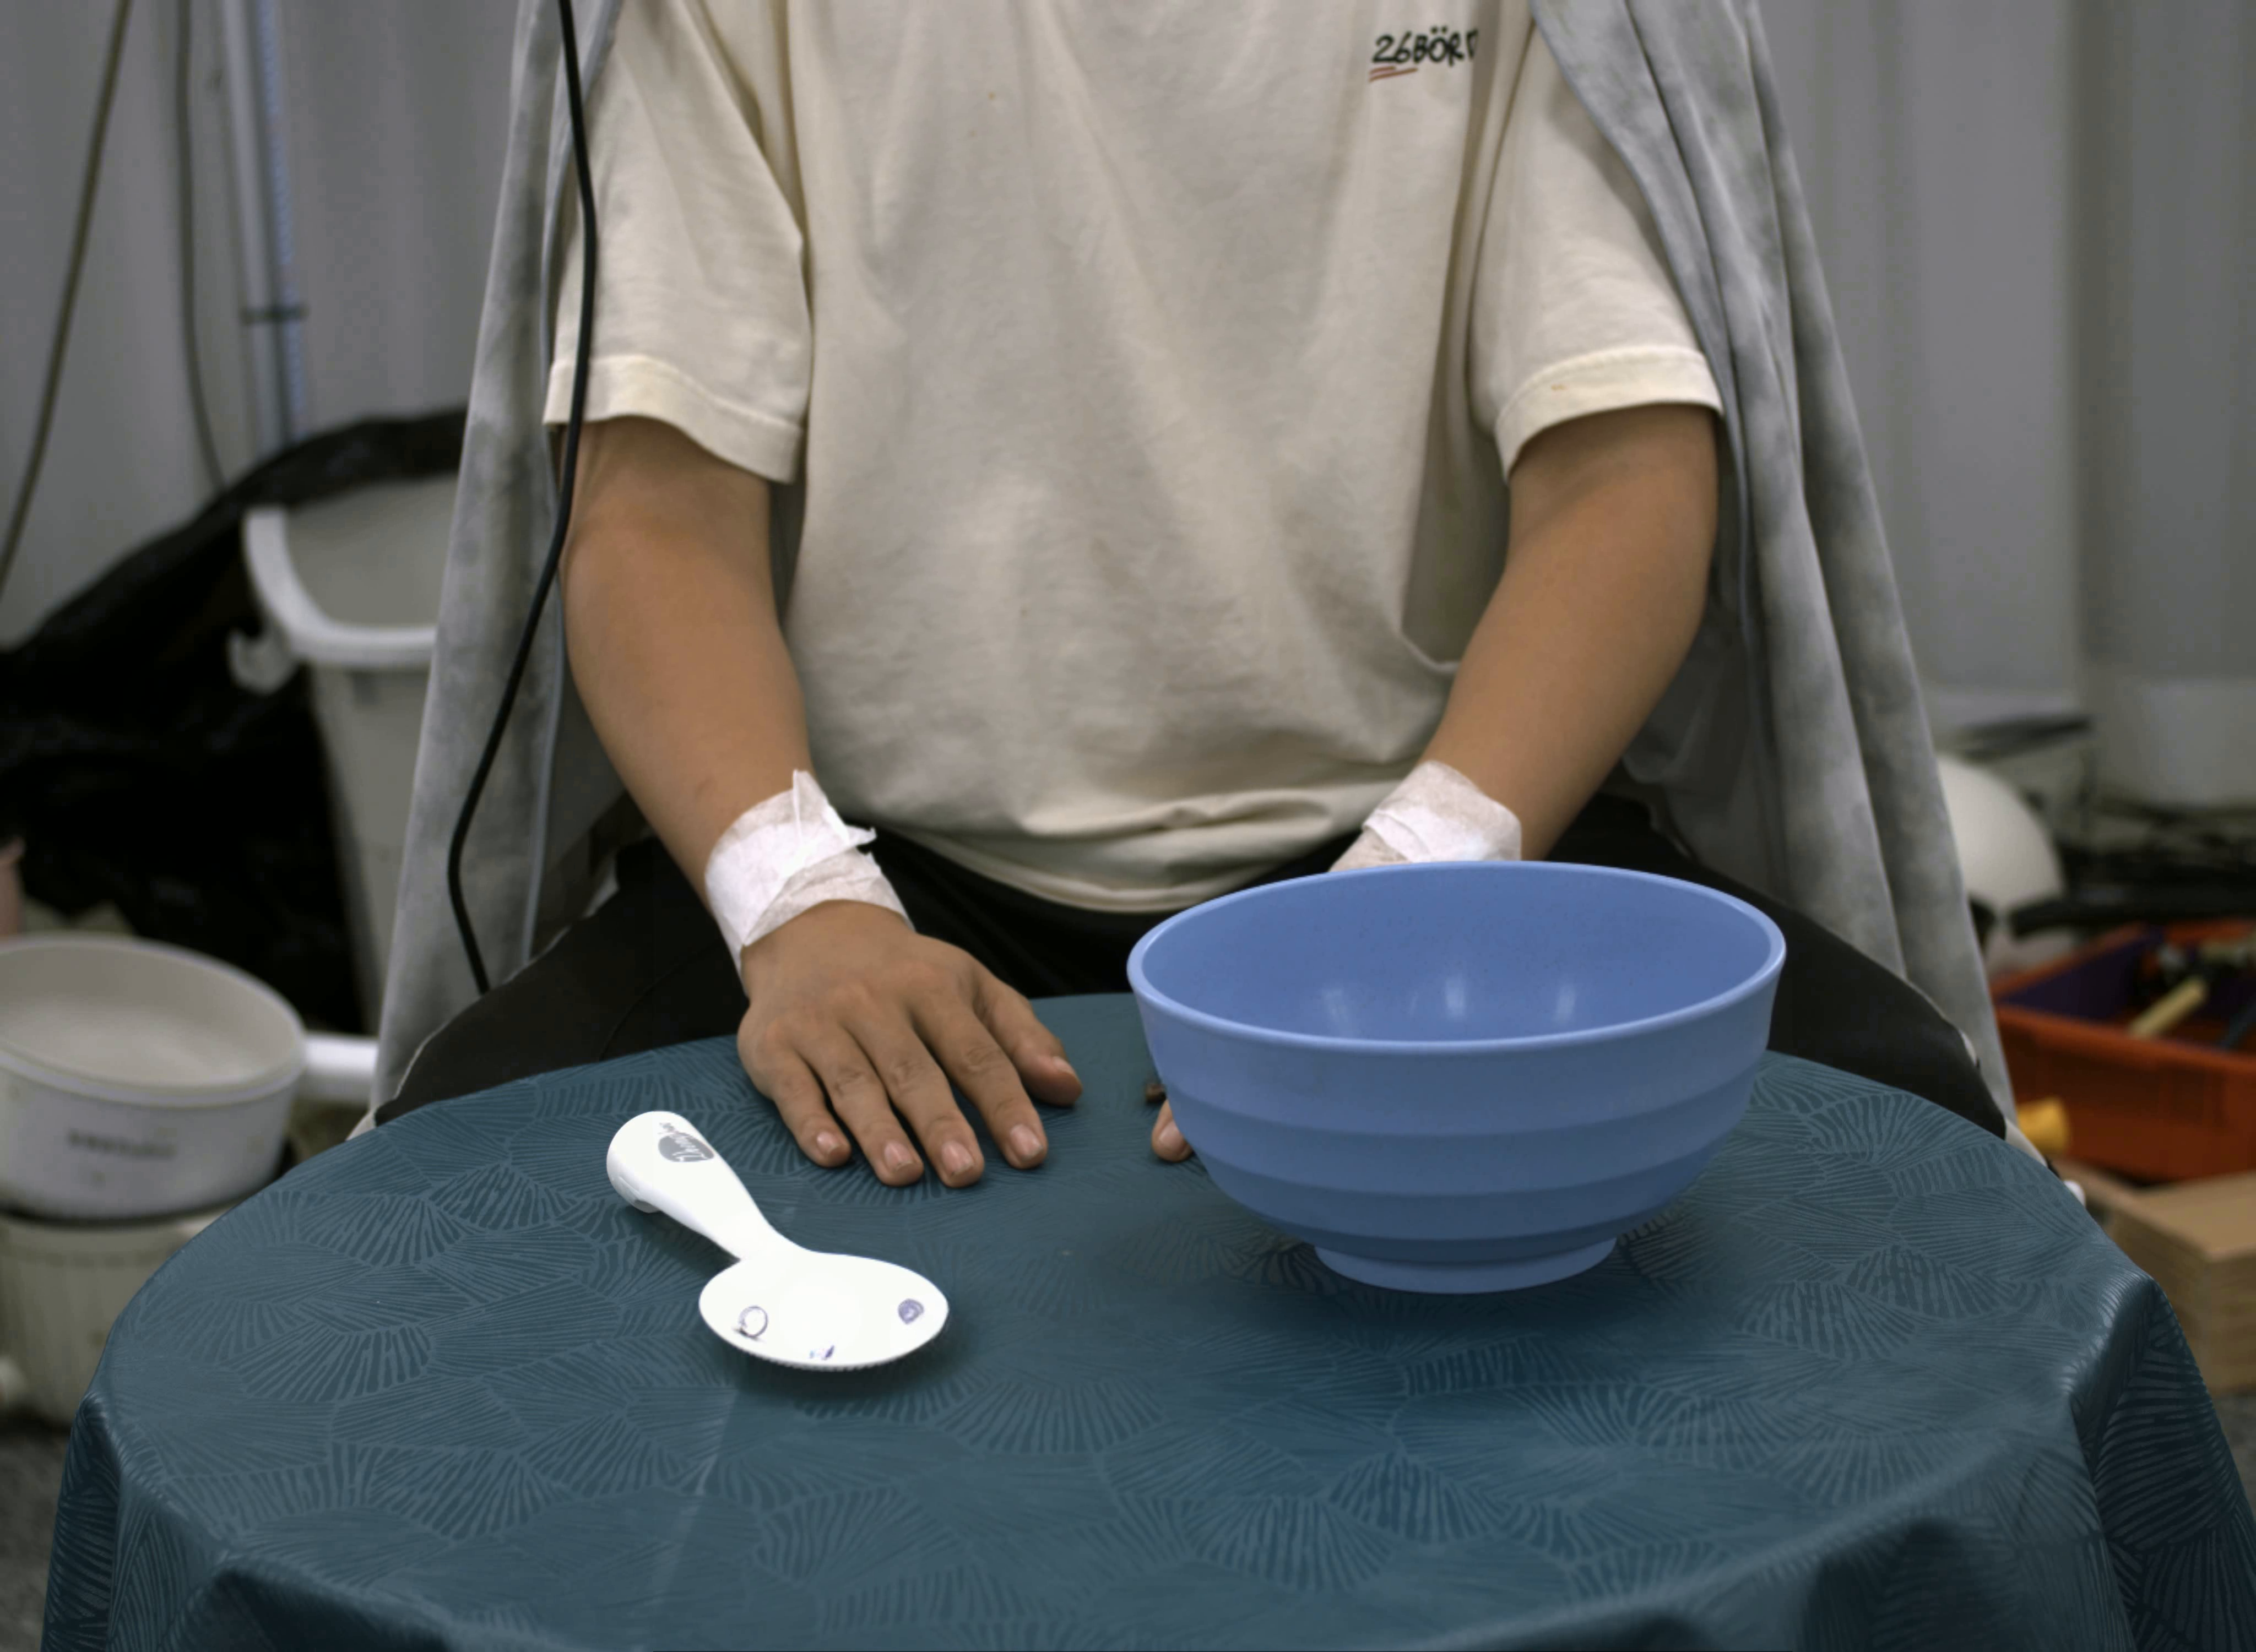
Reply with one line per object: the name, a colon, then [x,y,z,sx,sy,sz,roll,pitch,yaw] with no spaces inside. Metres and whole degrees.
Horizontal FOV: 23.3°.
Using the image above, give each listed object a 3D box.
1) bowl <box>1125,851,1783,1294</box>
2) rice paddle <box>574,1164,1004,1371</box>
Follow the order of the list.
bowl: [0.099,0.080,1.643,0.196,0.095,0.198,-4,16,1]
rice paddle: [-0.104,0.134,1.629,0.068,0.029,0.206,3,6,-33]
